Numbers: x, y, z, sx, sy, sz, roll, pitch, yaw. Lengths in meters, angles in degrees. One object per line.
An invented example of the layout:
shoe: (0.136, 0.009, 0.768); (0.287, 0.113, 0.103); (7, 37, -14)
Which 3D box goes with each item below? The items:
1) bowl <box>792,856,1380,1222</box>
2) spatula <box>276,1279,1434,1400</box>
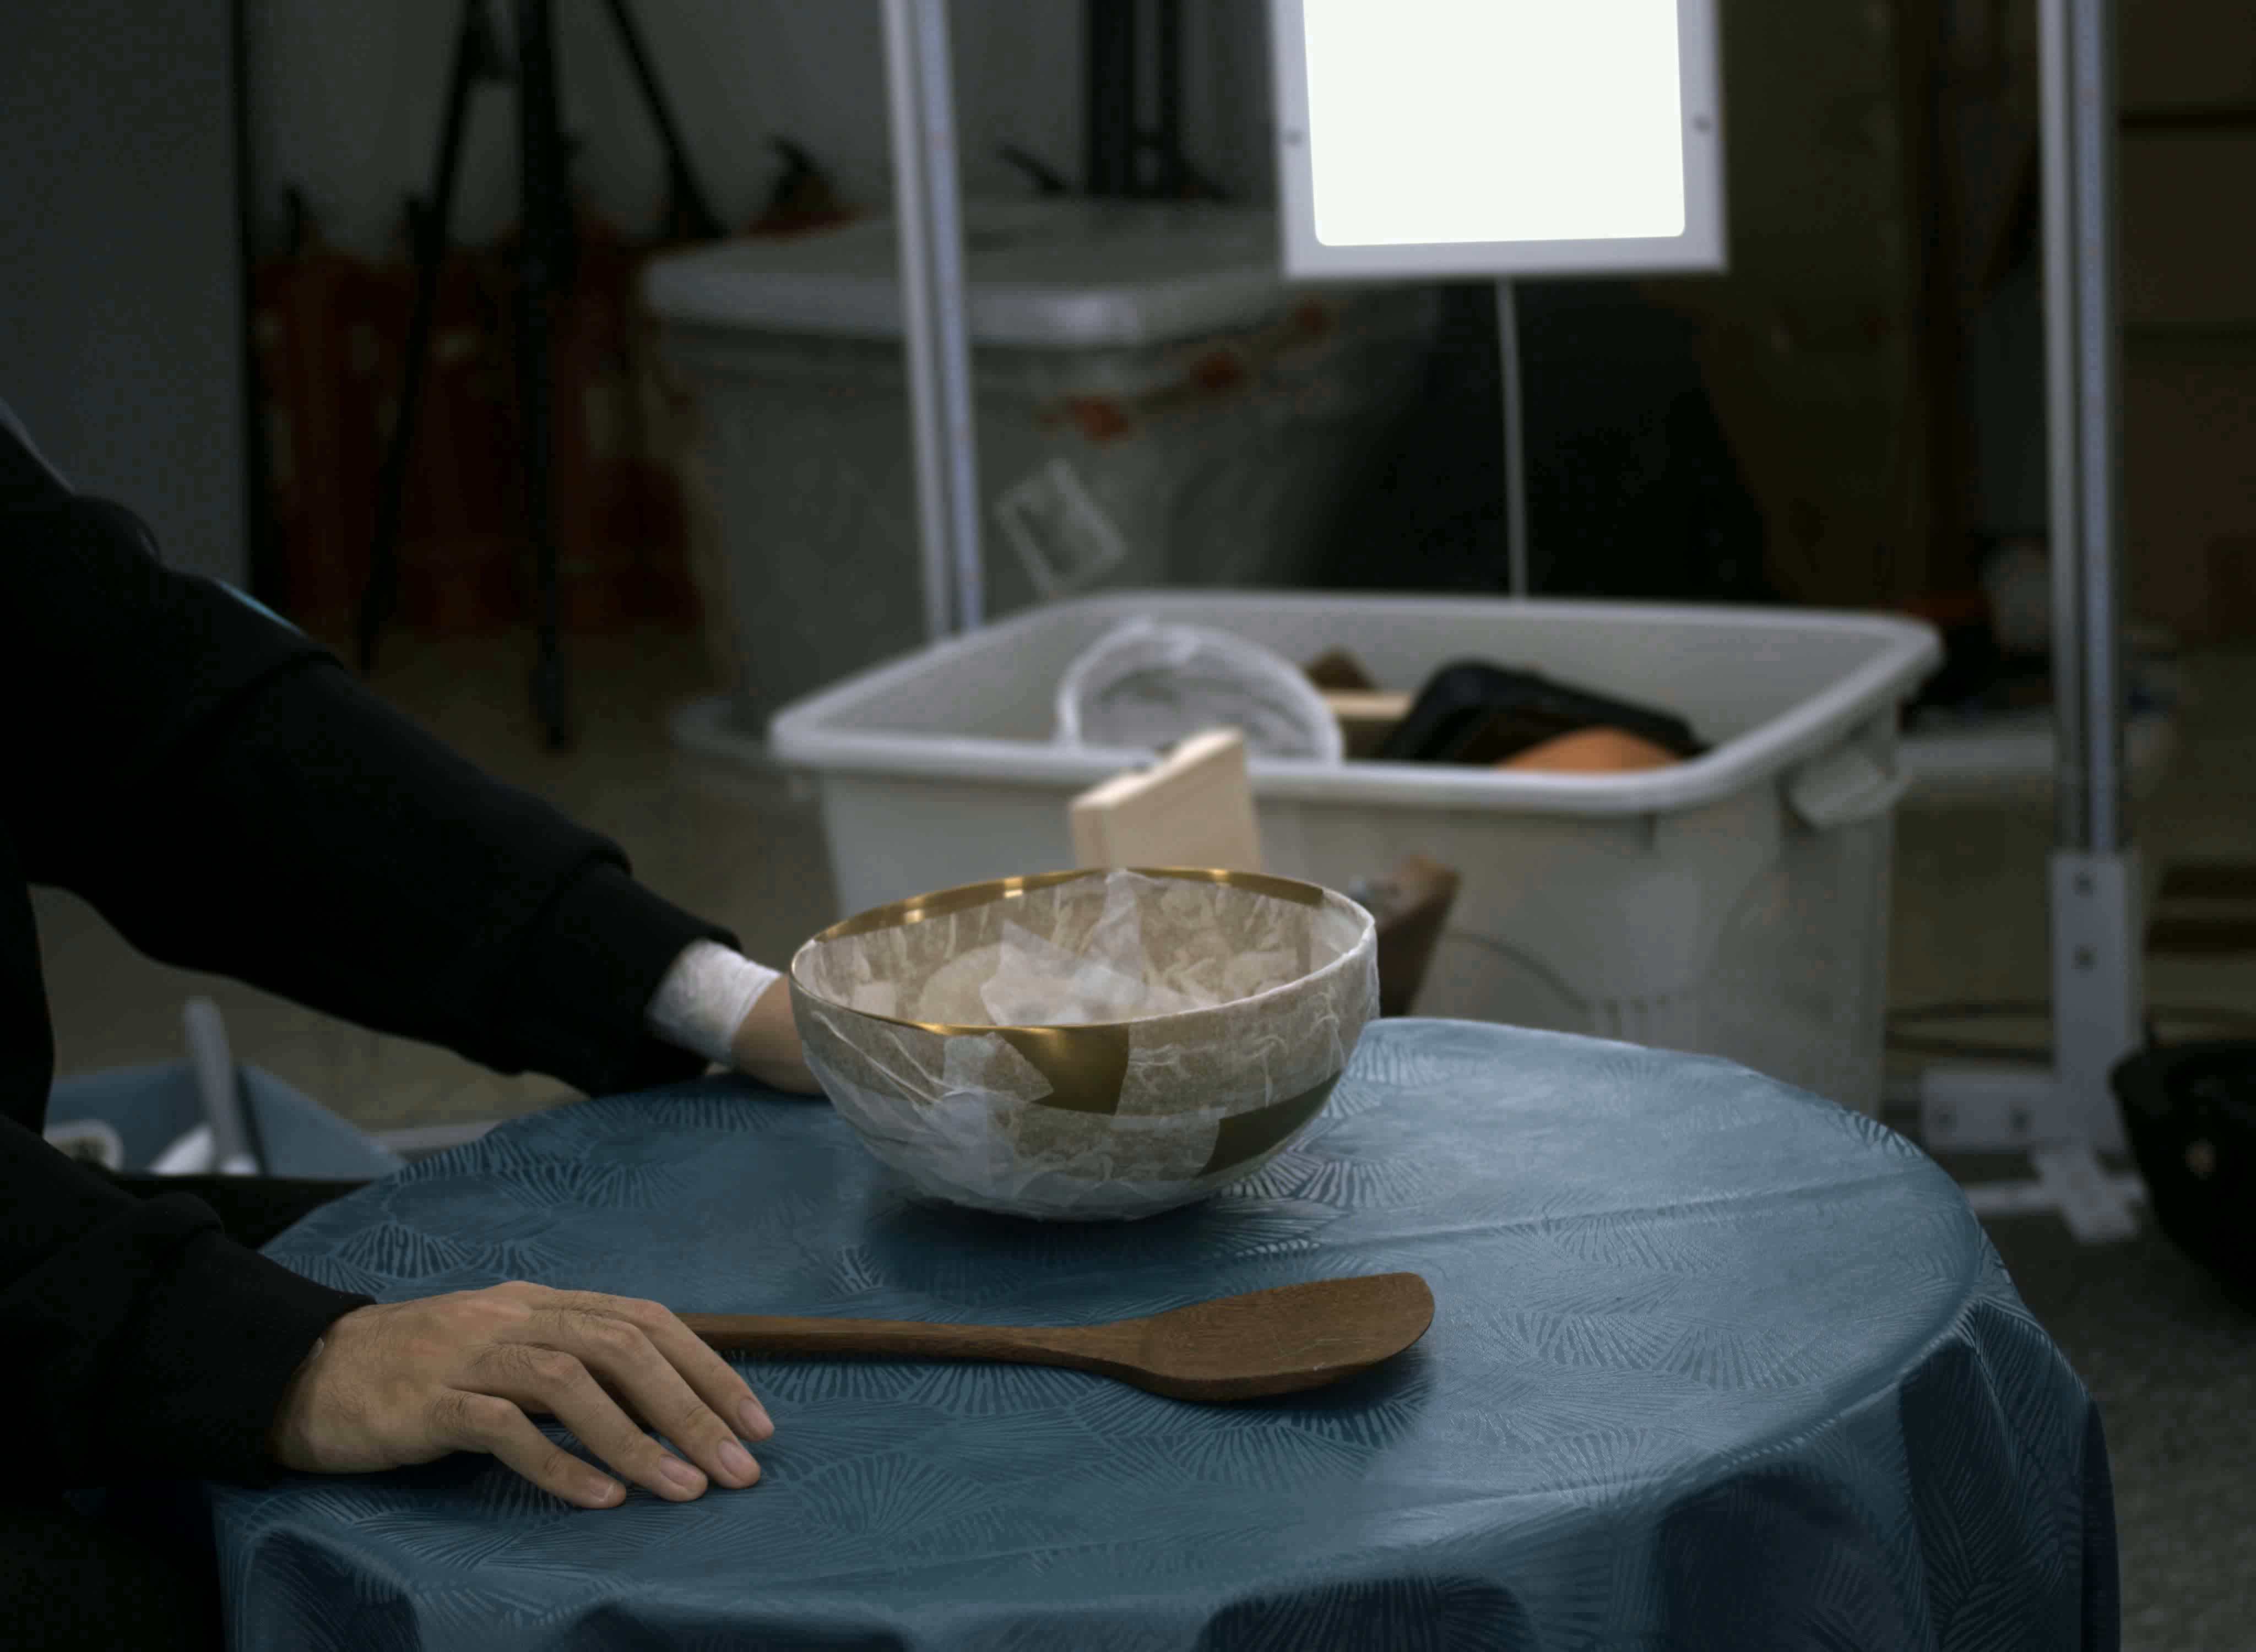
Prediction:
bowl: (-0.013, 0.080, 1.891); (0.214, 0.095, 0.214); (-6, 15, 0)
spatula: (-0.093, 0.162, 1.756); (0.390, 0.016, 0.094); (-1, 14, 17)
